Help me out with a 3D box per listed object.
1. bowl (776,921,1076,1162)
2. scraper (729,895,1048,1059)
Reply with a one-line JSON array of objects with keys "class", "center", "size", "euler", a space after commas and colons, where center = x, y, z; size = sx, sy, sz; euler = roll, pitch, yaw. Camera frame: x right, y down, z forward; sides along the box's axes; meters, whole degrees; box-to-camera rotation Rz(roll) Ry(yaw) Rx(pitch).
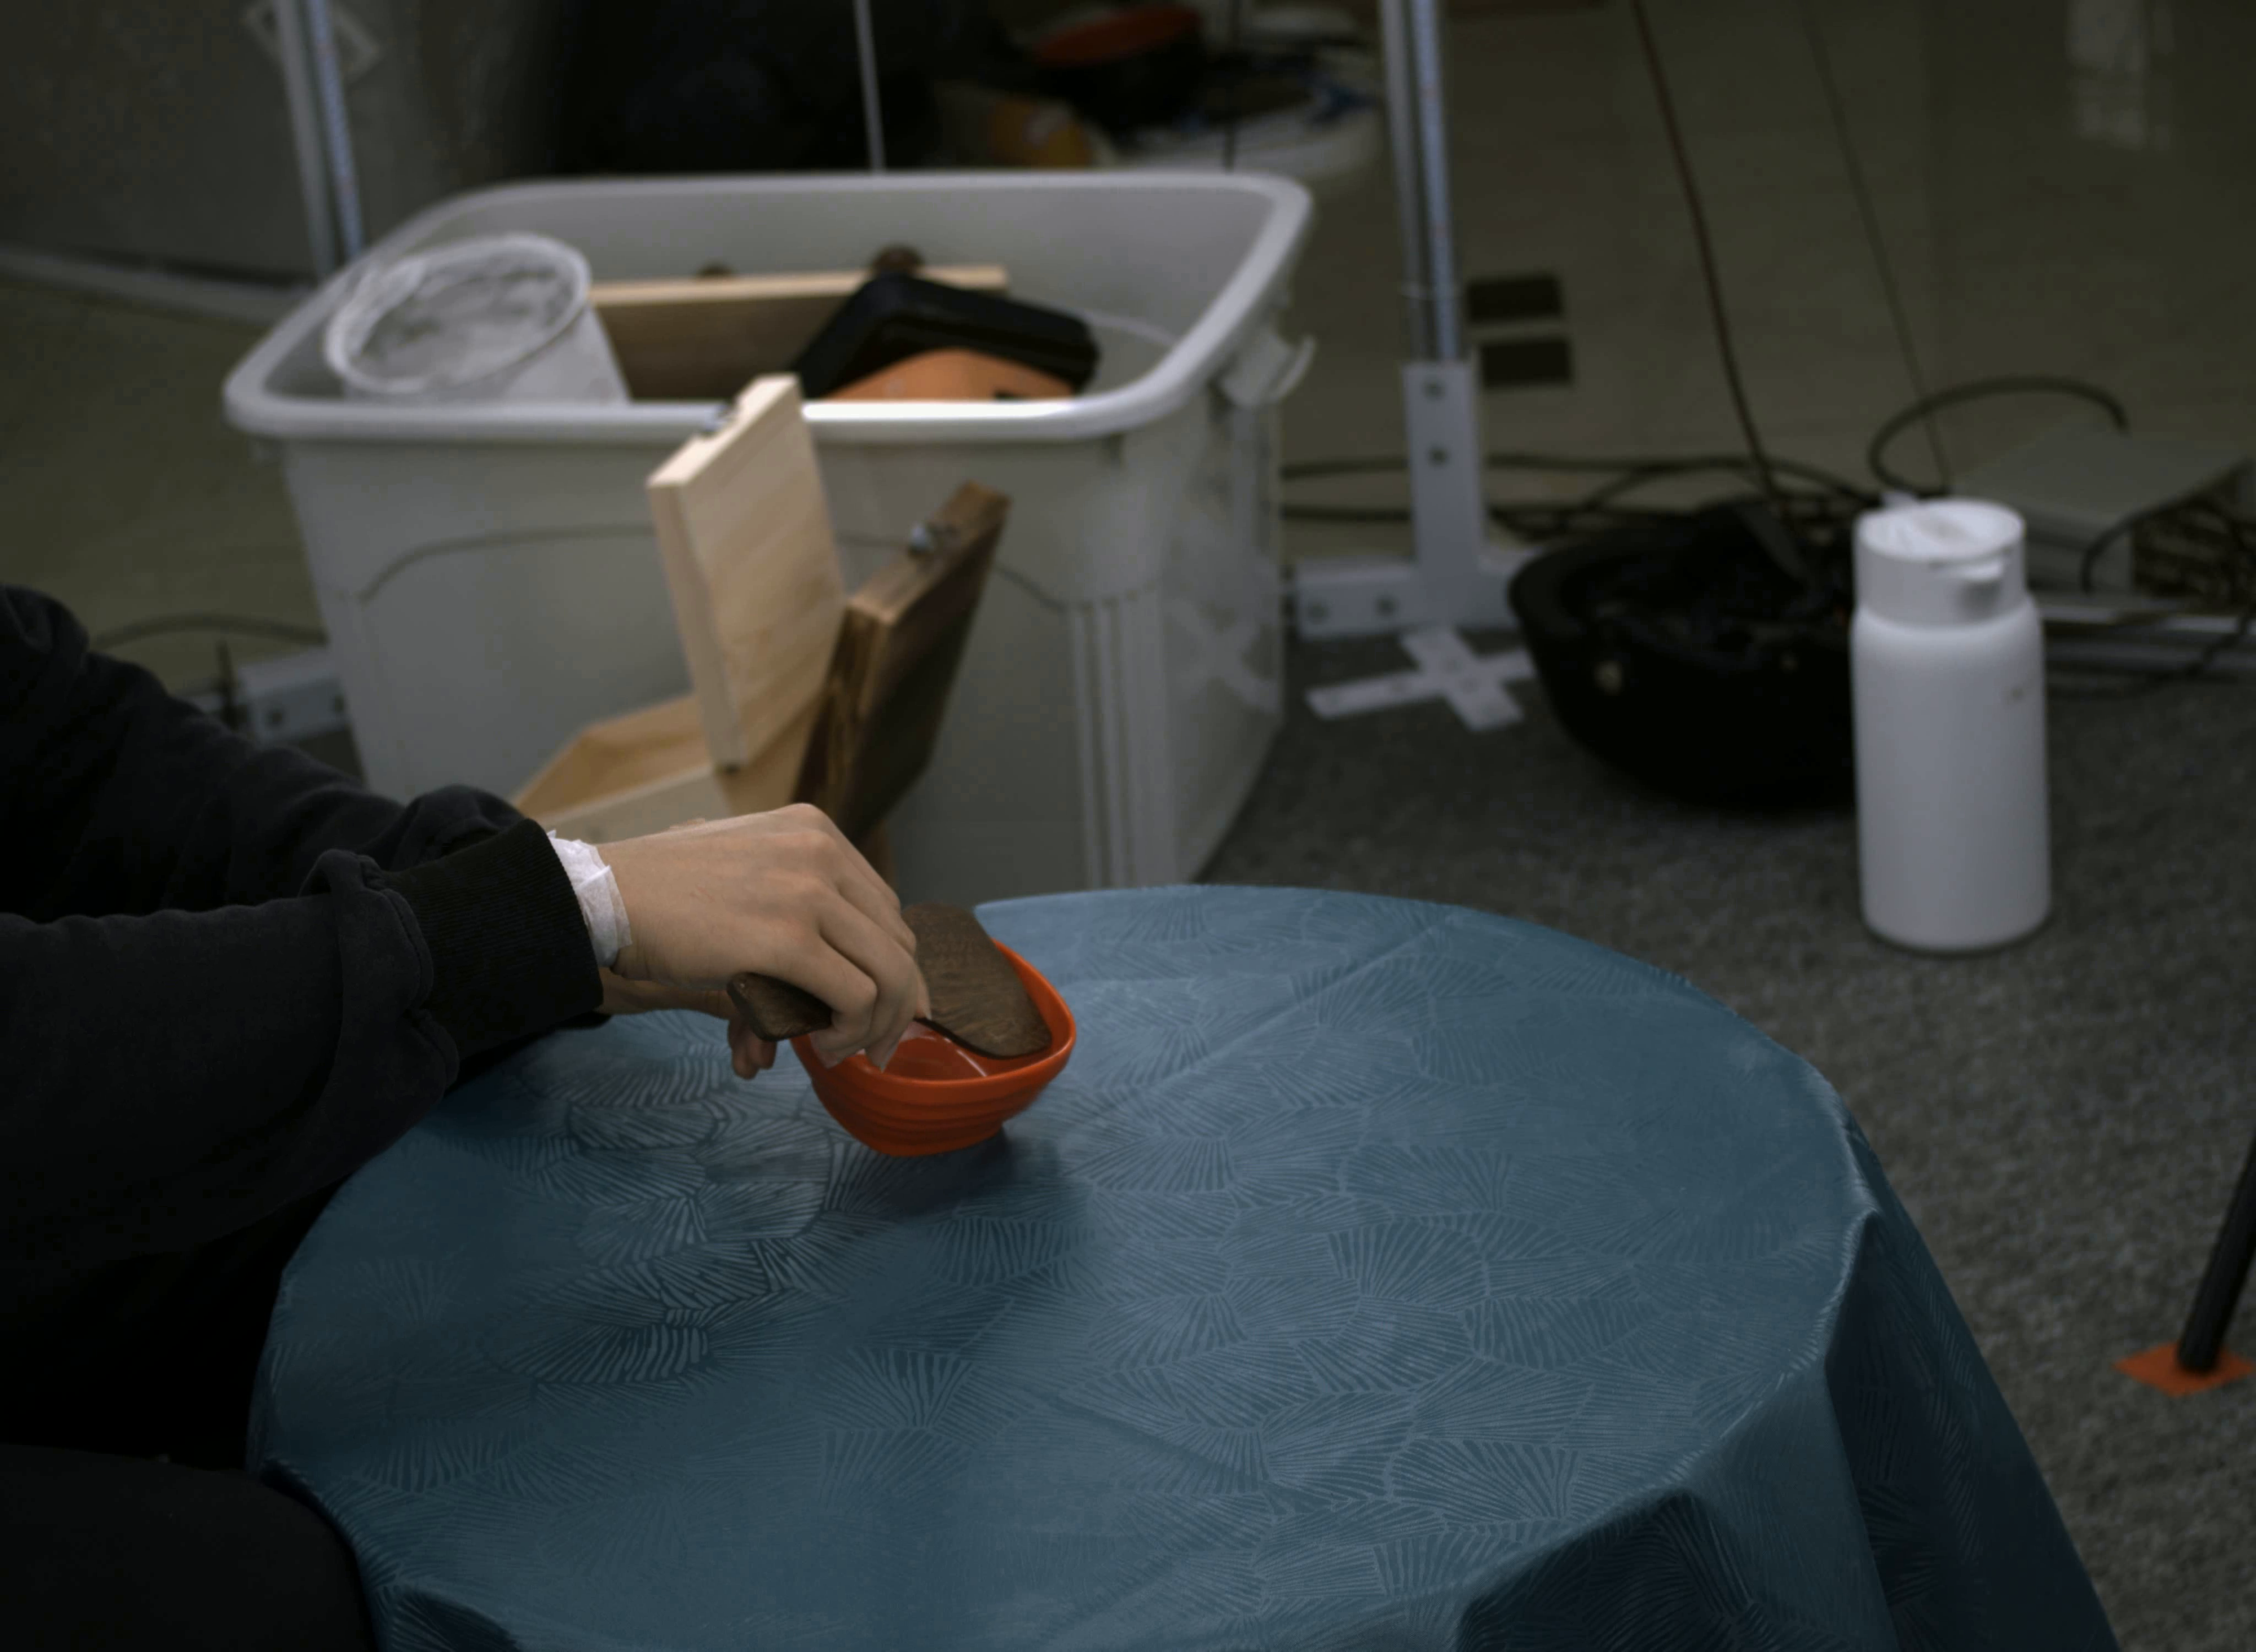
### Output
[{"class": "bowl", "center": [-0.083, 0.089, 2.198], "size": [0.119, 0.052, 0.117], "euler": [11, 32, -7]}, {"class": "scraper", "center": [-0.094, 0.062, 2.121], "size": [0.011, 0.075, 0.211], "euler": [-39, -13, 21]}]
